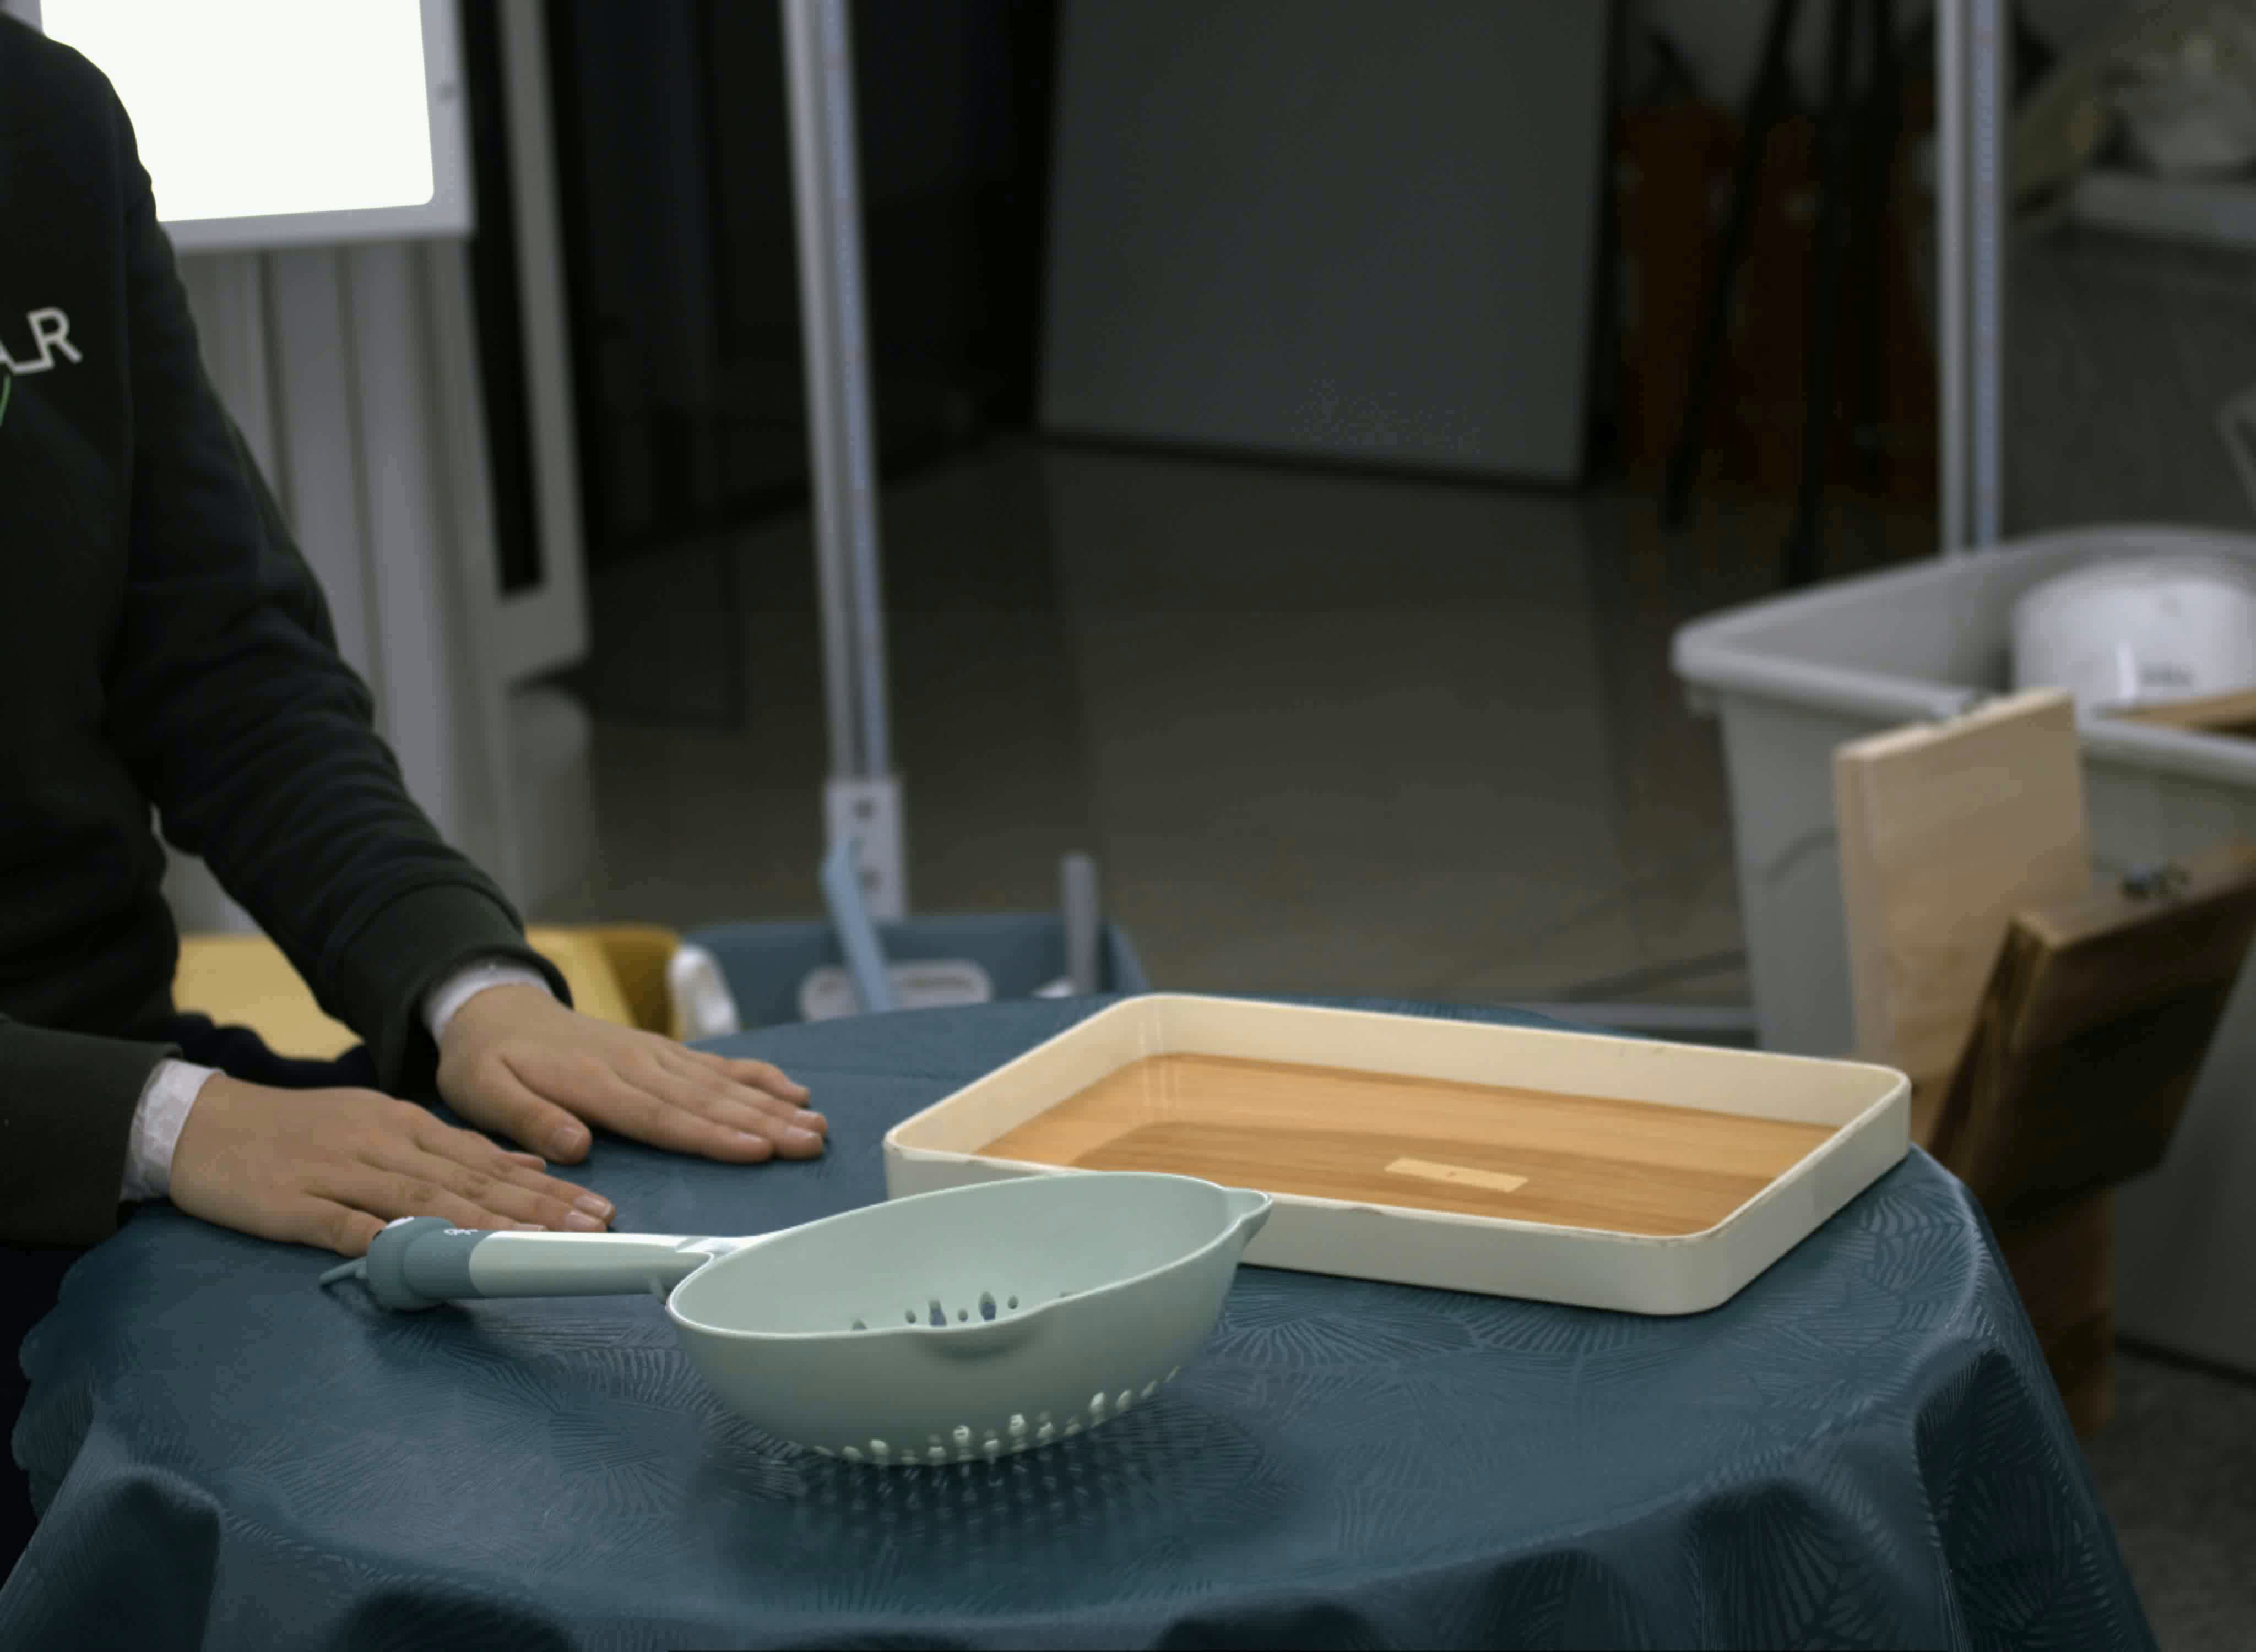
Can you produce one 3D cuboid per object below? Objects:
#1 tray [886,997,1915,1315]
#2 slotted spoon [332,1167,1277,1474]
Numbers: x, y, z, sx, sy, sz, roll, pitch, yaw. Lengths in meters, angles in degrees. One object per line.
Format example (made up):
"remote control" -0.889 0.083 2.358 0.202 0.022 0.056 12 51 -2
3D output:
"tray" 0.089 0.105 1.758 0.301 0.028 0.188 5 16 30
"slotted spoon" -0.118 0.136 1.609 0.362 0.076 0.166 8 18 40
